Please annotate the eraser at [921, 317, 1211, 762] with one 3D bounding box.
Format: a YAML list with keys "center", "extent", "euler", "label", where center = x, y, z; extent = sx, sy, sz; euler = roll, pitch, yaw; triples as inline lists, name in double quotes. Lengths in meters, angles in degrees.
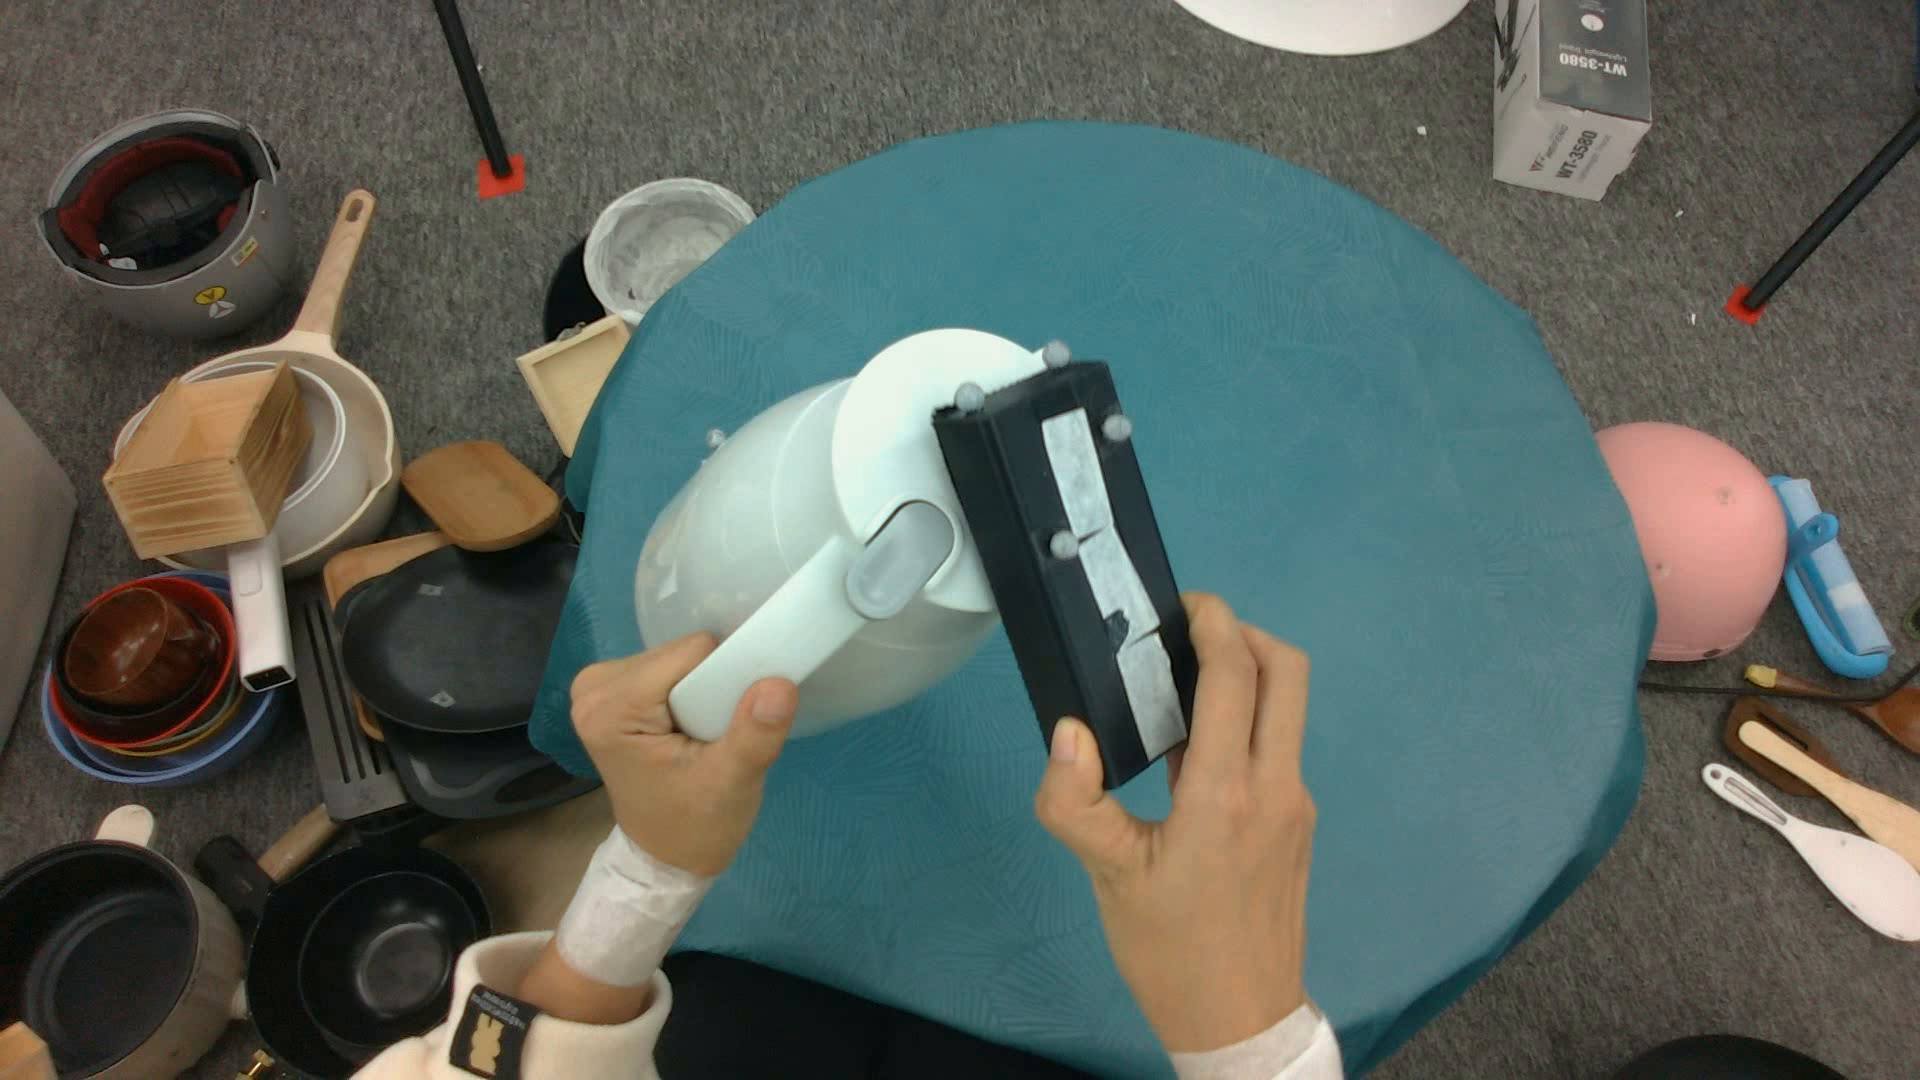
- center: [0.034, 0.000, 0.416]
  extent: [0.054, 0.030, 0.125]
  euler: [-29, 107, -29]
  label: "eraser"

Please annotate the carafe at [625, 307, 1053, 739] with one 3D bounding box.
- center: [-0.054, 0.009, 0.521]
  extent: [0.132, 0.247, 0.168]
  euler: [45, 66, -8]
  label: "carafe"
